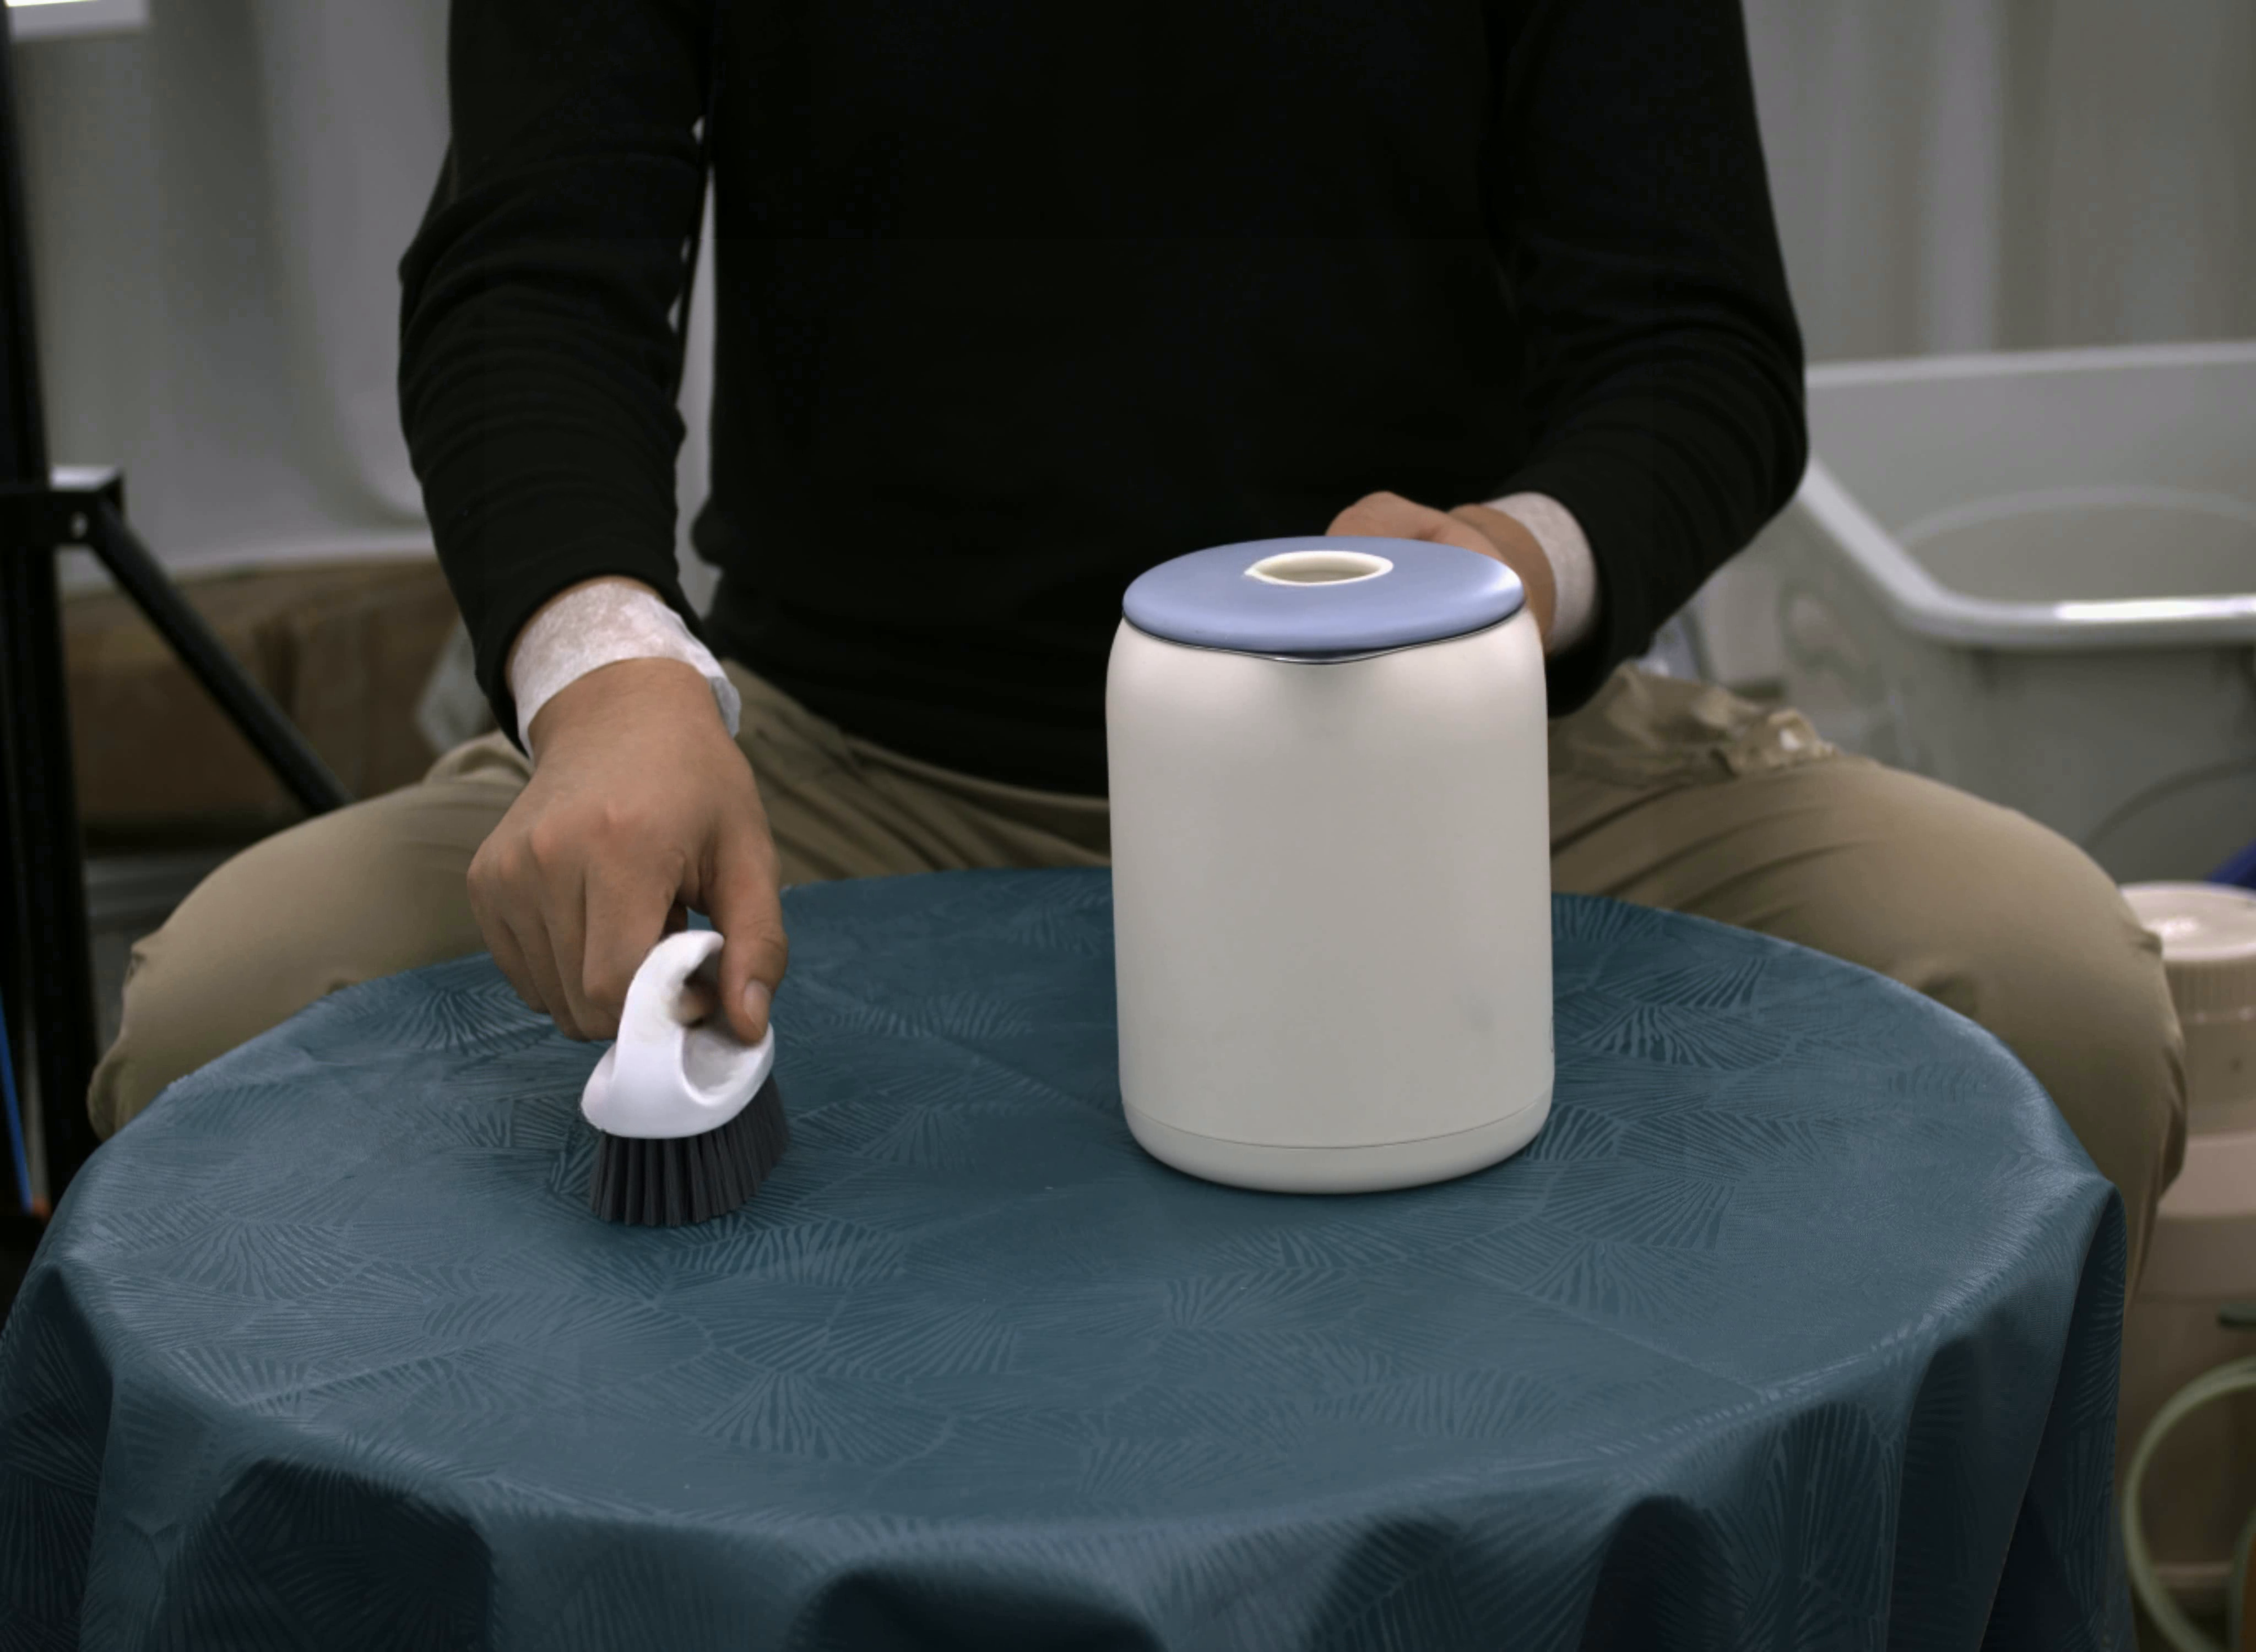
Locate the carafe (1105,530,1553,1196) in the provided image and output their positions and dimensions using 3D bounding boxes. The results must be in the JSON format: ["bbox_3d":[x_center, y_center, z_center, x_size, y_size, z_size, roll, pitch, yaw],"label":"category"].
[{"bbox_3d":[0.060,0.004,1.603,0.132,0.182,0.191,-2,14,1],"label":"carafe"}]

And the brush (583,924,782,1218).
[{"bbox_3d":[-0.134,0.068,1.586,0.050,0.072,0.099,0,16,10],"label":"brush"}]
